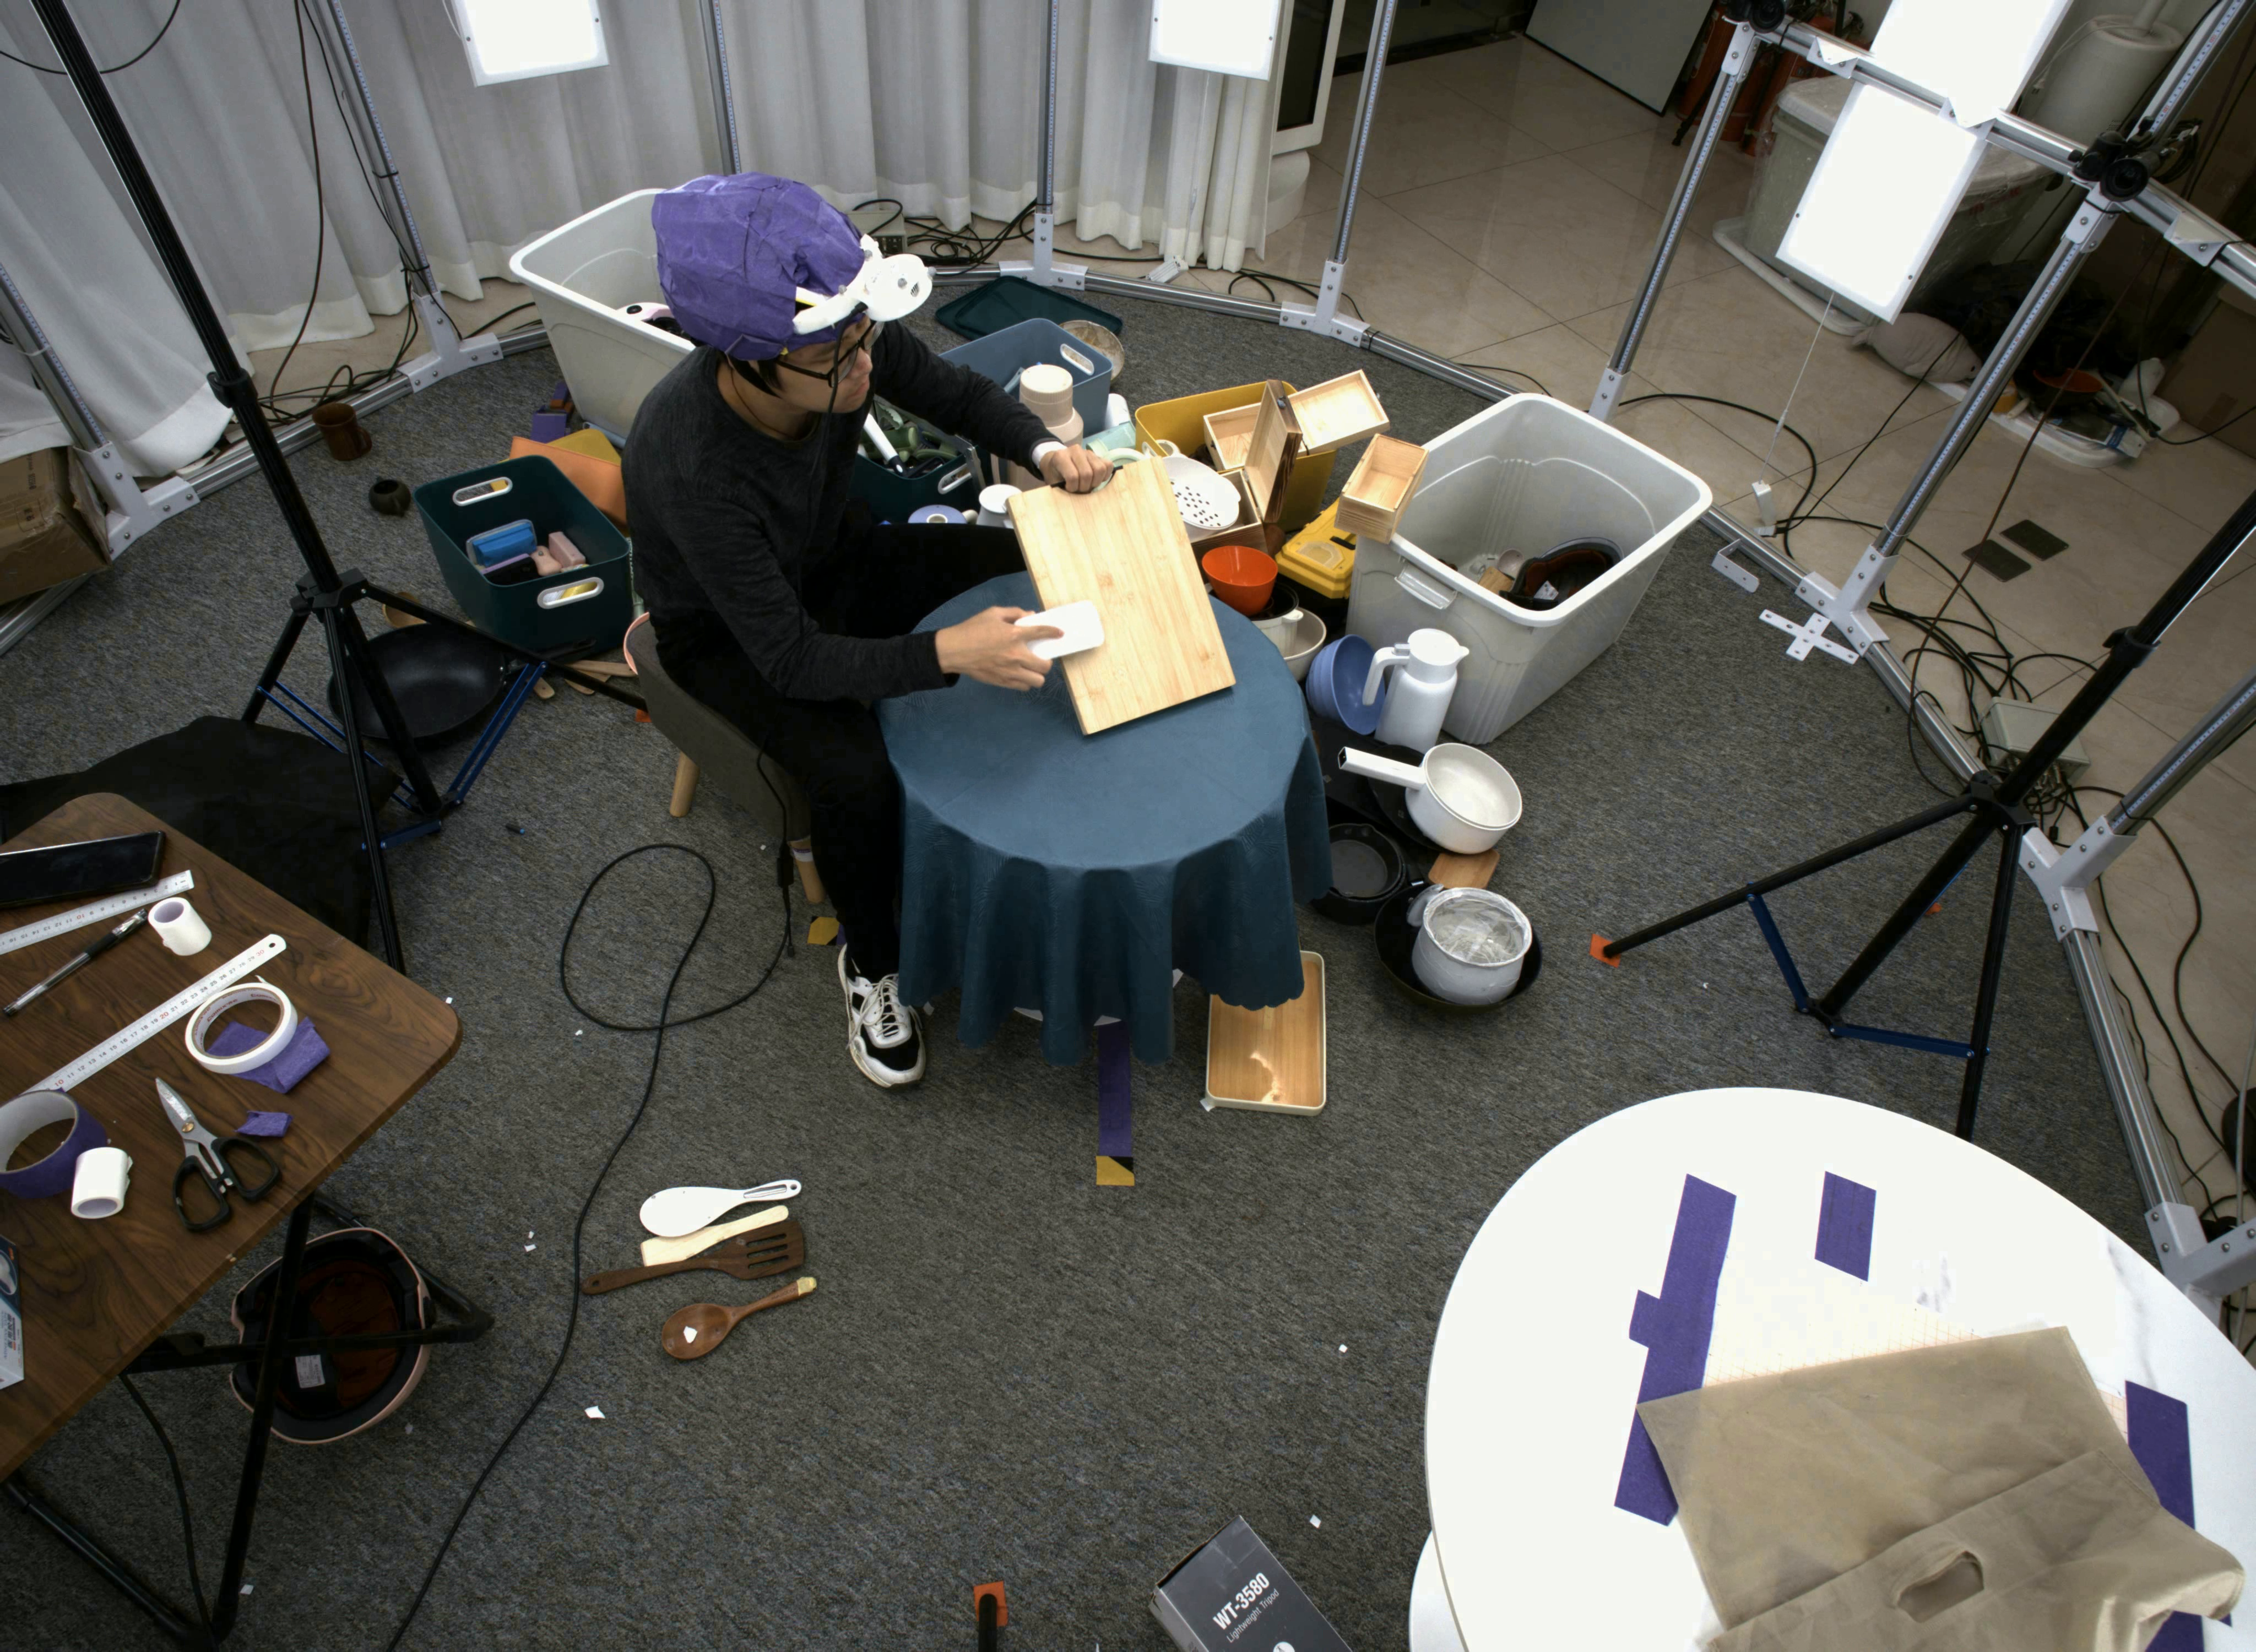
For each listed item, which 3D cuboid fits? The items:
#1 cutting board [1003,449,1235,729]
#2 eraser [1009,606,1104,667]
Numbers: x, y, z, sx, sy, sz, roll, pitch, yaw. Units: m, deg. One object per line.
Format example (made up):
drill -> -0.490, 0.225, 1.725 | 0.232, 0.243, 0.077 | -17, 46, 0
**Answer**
cutting board -> -0.008, -0.331, 1.801 | 0.251, 0.023, 0.348 | -21, 93, -21
eraser -> -0.096, -0.256, 1.729 | 0.131, 0.034, 0.063 | -18, 92, -29
